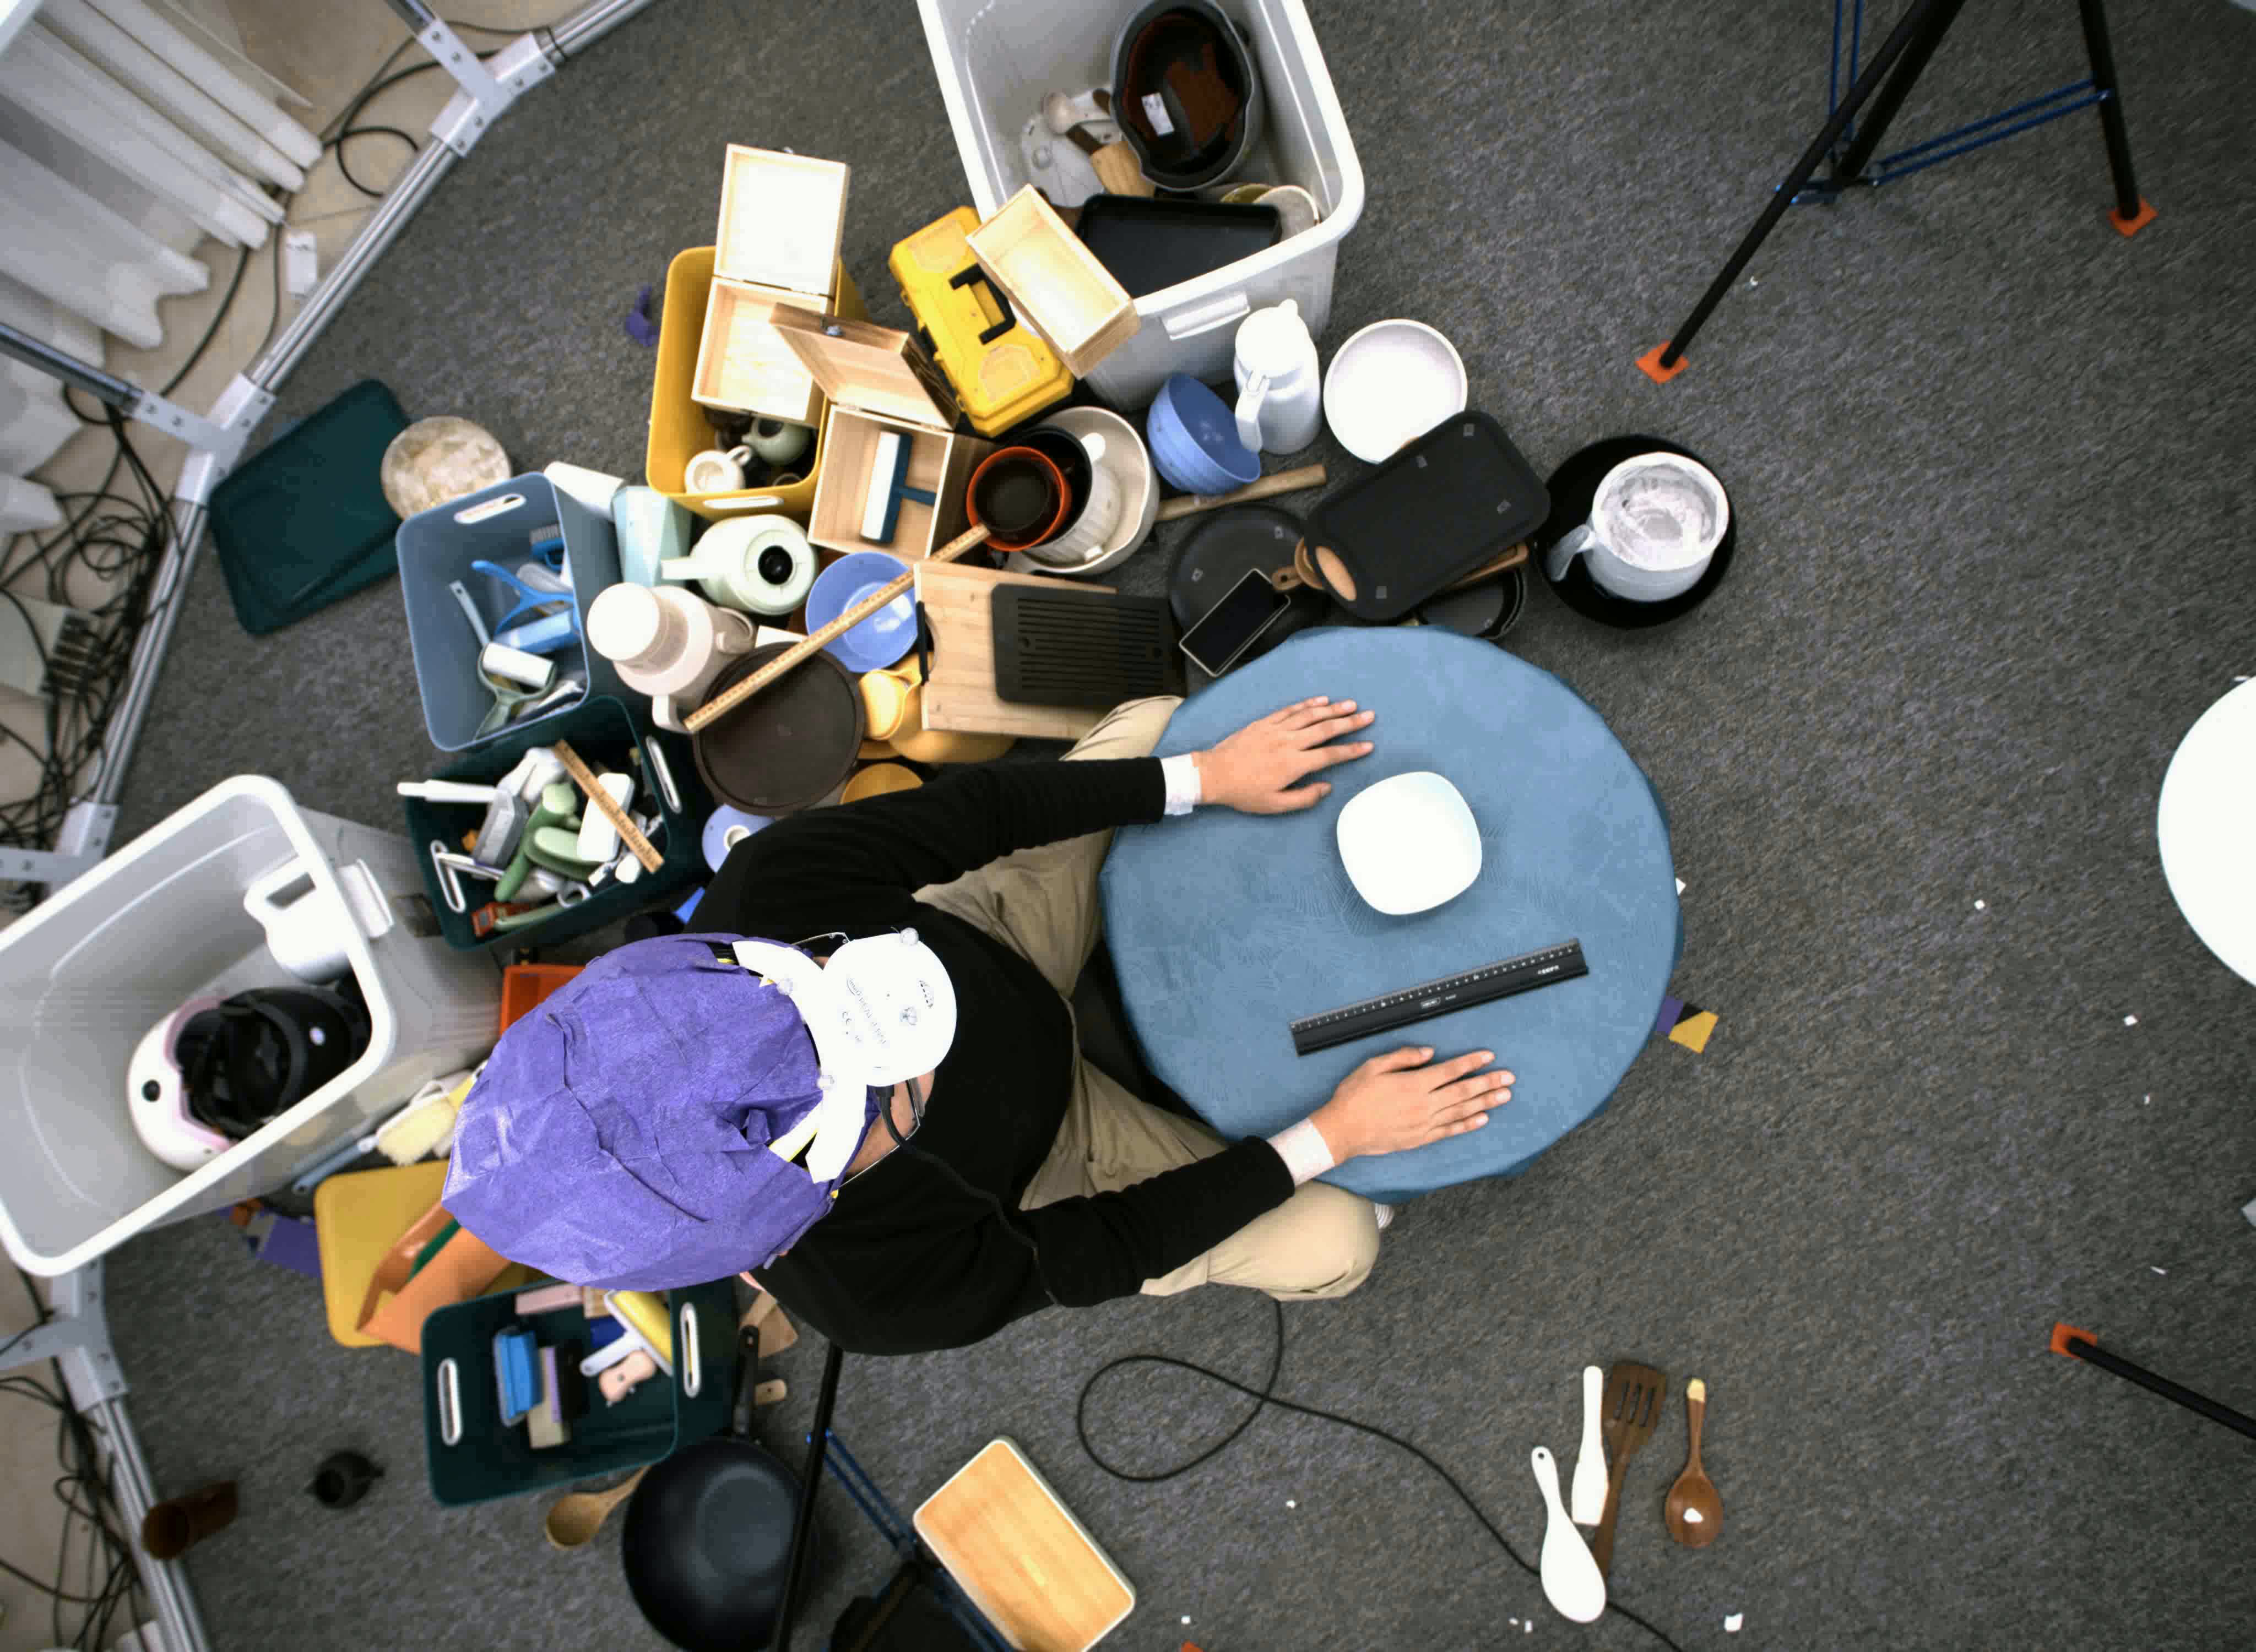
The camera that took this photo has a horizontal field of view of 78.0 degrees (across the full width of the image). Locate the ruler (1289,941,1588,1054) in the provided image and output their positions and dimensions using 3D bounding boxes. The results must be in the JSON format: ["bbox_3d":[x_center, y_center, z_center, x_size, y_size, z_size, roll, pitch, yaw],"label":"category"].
[{"bbox_3d":[0.322,0.176,1.437,0.314,0.017,0.039,-17,80,9],"label":"ruler"}]

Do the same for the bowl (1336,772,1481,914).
[{"bbox_3d":[0.289,0.018,1.431,0.152,0.059,0.151,-1,87,8],"label":"bowl"}]
